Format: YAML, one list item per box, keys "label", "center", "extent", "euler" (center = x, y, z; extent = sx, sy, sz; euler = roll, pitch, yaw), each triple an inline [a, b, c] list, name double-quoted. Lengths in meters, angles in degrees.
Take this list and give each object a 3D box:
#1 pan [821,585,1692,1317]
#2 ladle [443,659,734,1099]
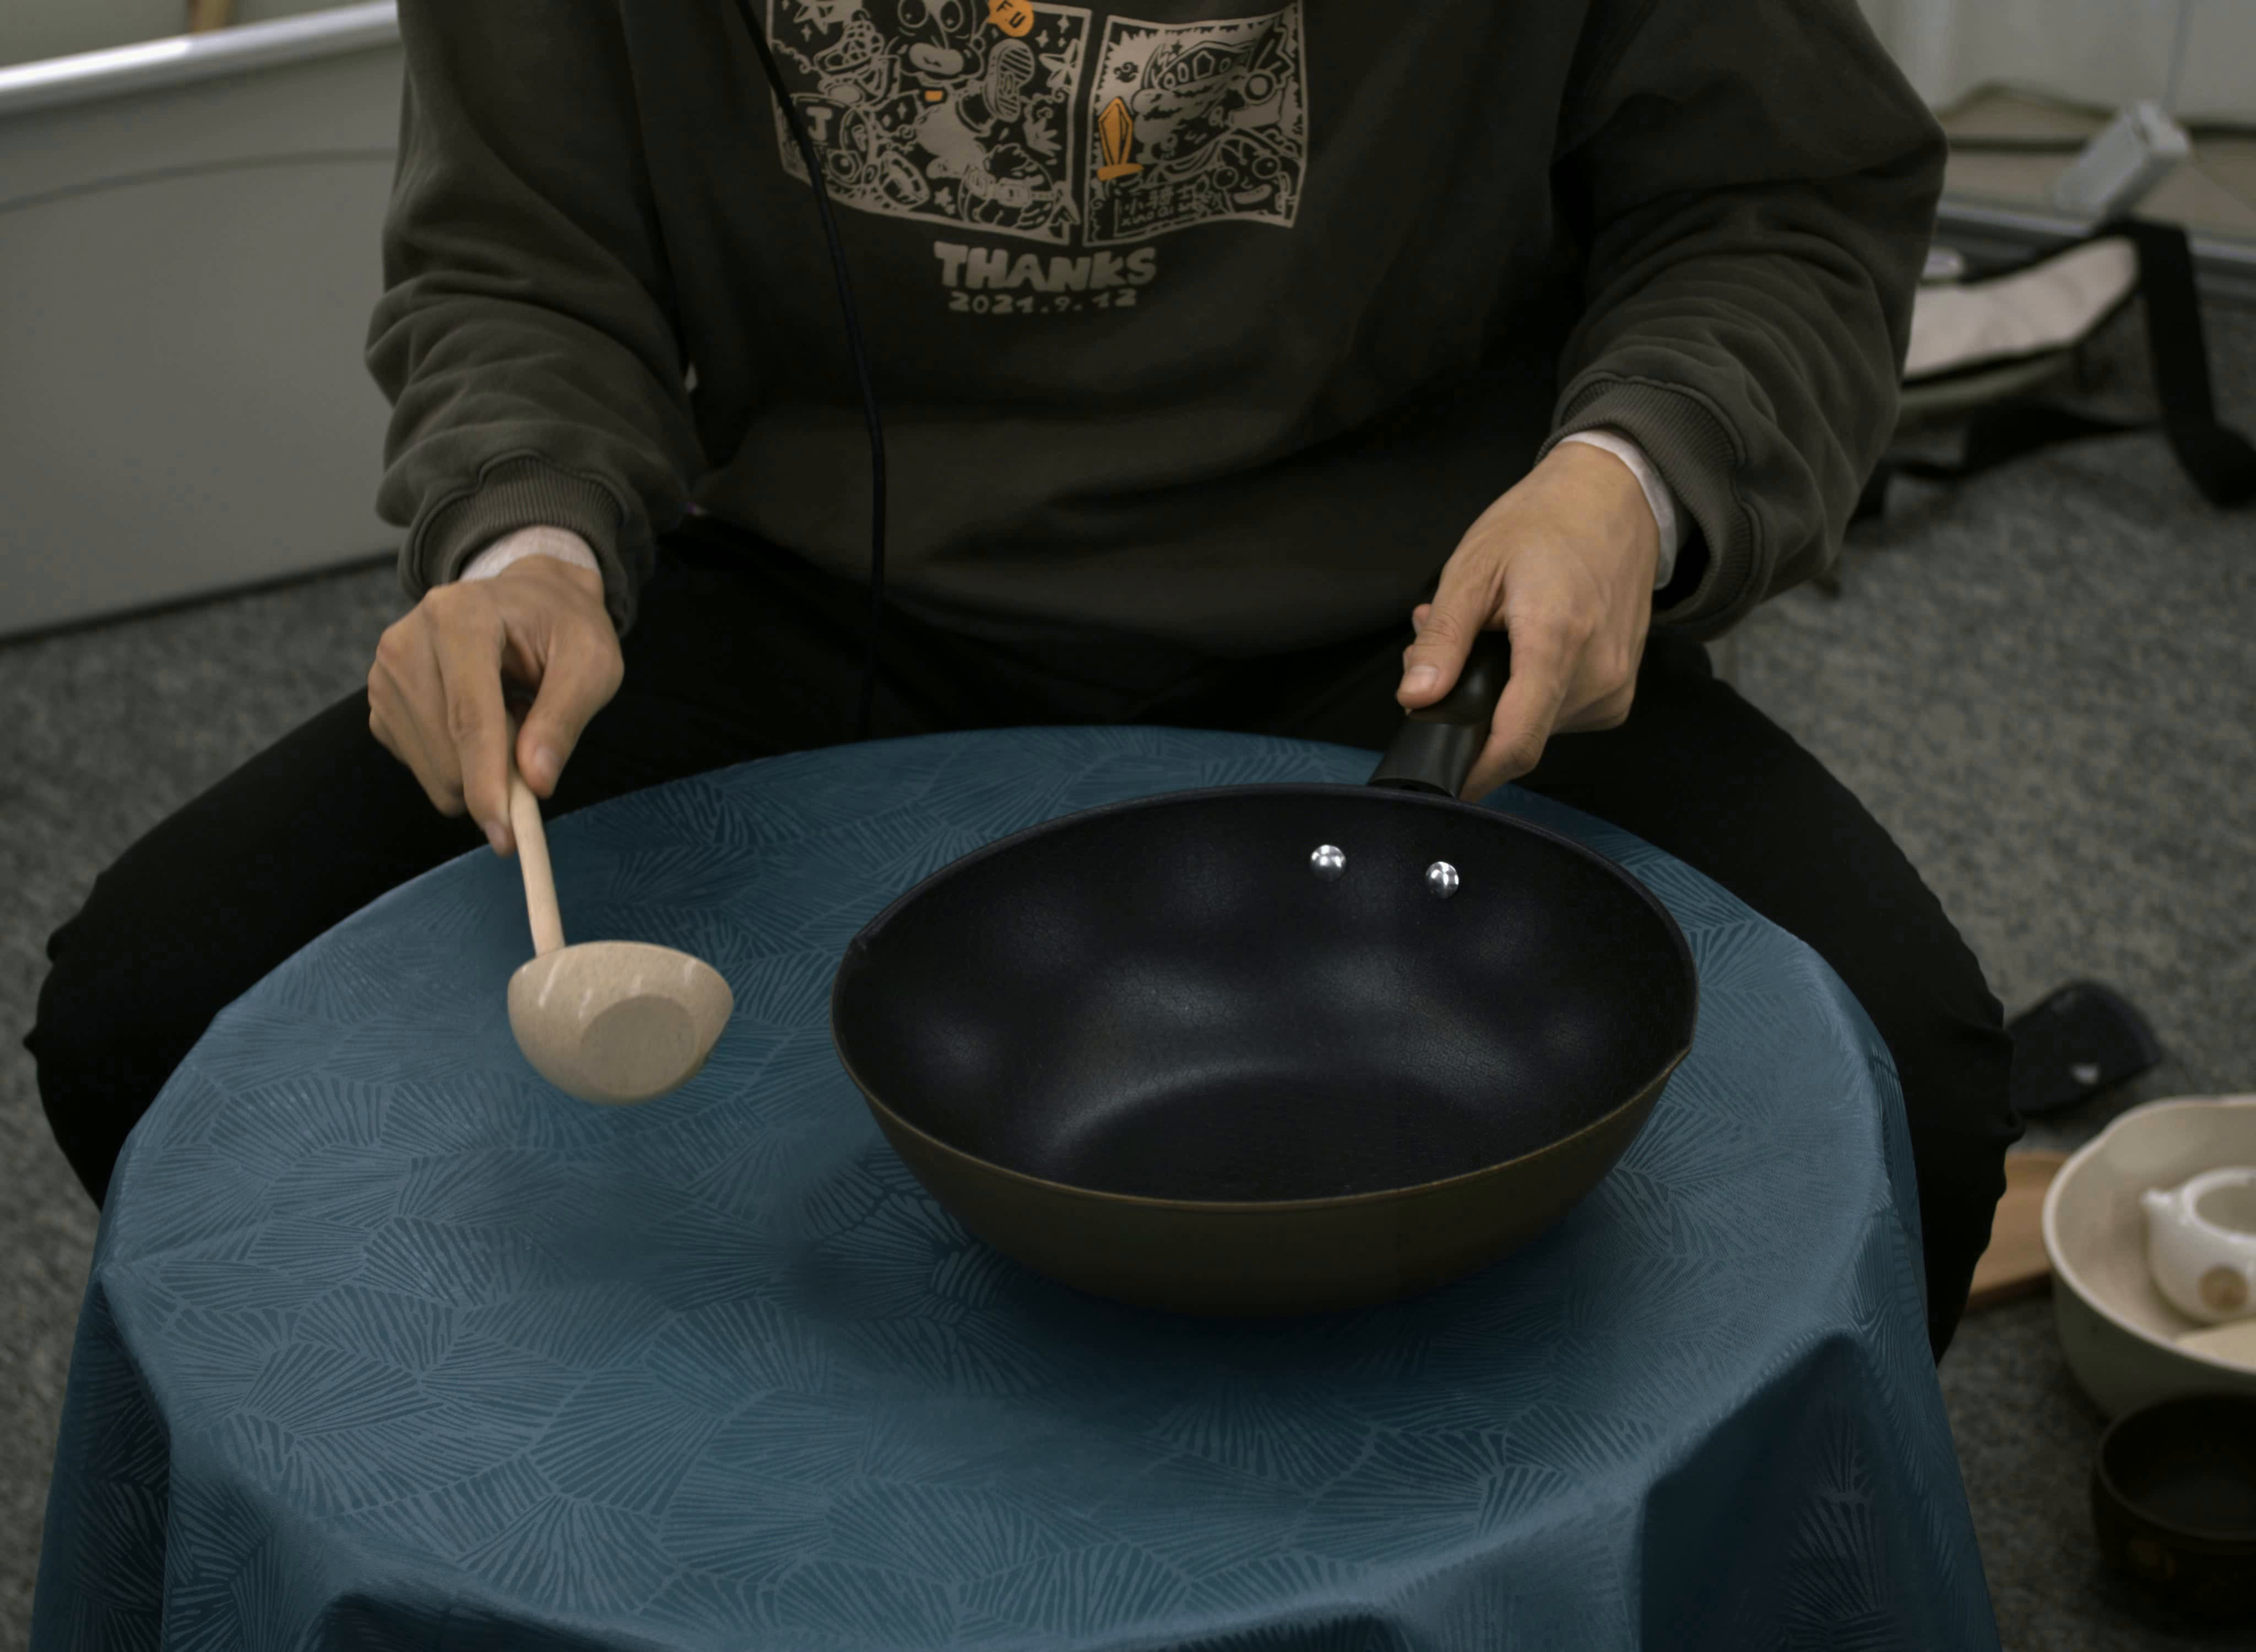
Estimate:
- label: "pan"
  center: [0.074, 0.043, 1.915]
  extent: [0.286, 0.086, 0.471]
  euler: [7, 28, 19]
- label: "ladle"
  center: [-0.188, -0.006, 1.894]
  extent: [0.072, 0.072, 0.258]
  euler: [19, 30, -30]
